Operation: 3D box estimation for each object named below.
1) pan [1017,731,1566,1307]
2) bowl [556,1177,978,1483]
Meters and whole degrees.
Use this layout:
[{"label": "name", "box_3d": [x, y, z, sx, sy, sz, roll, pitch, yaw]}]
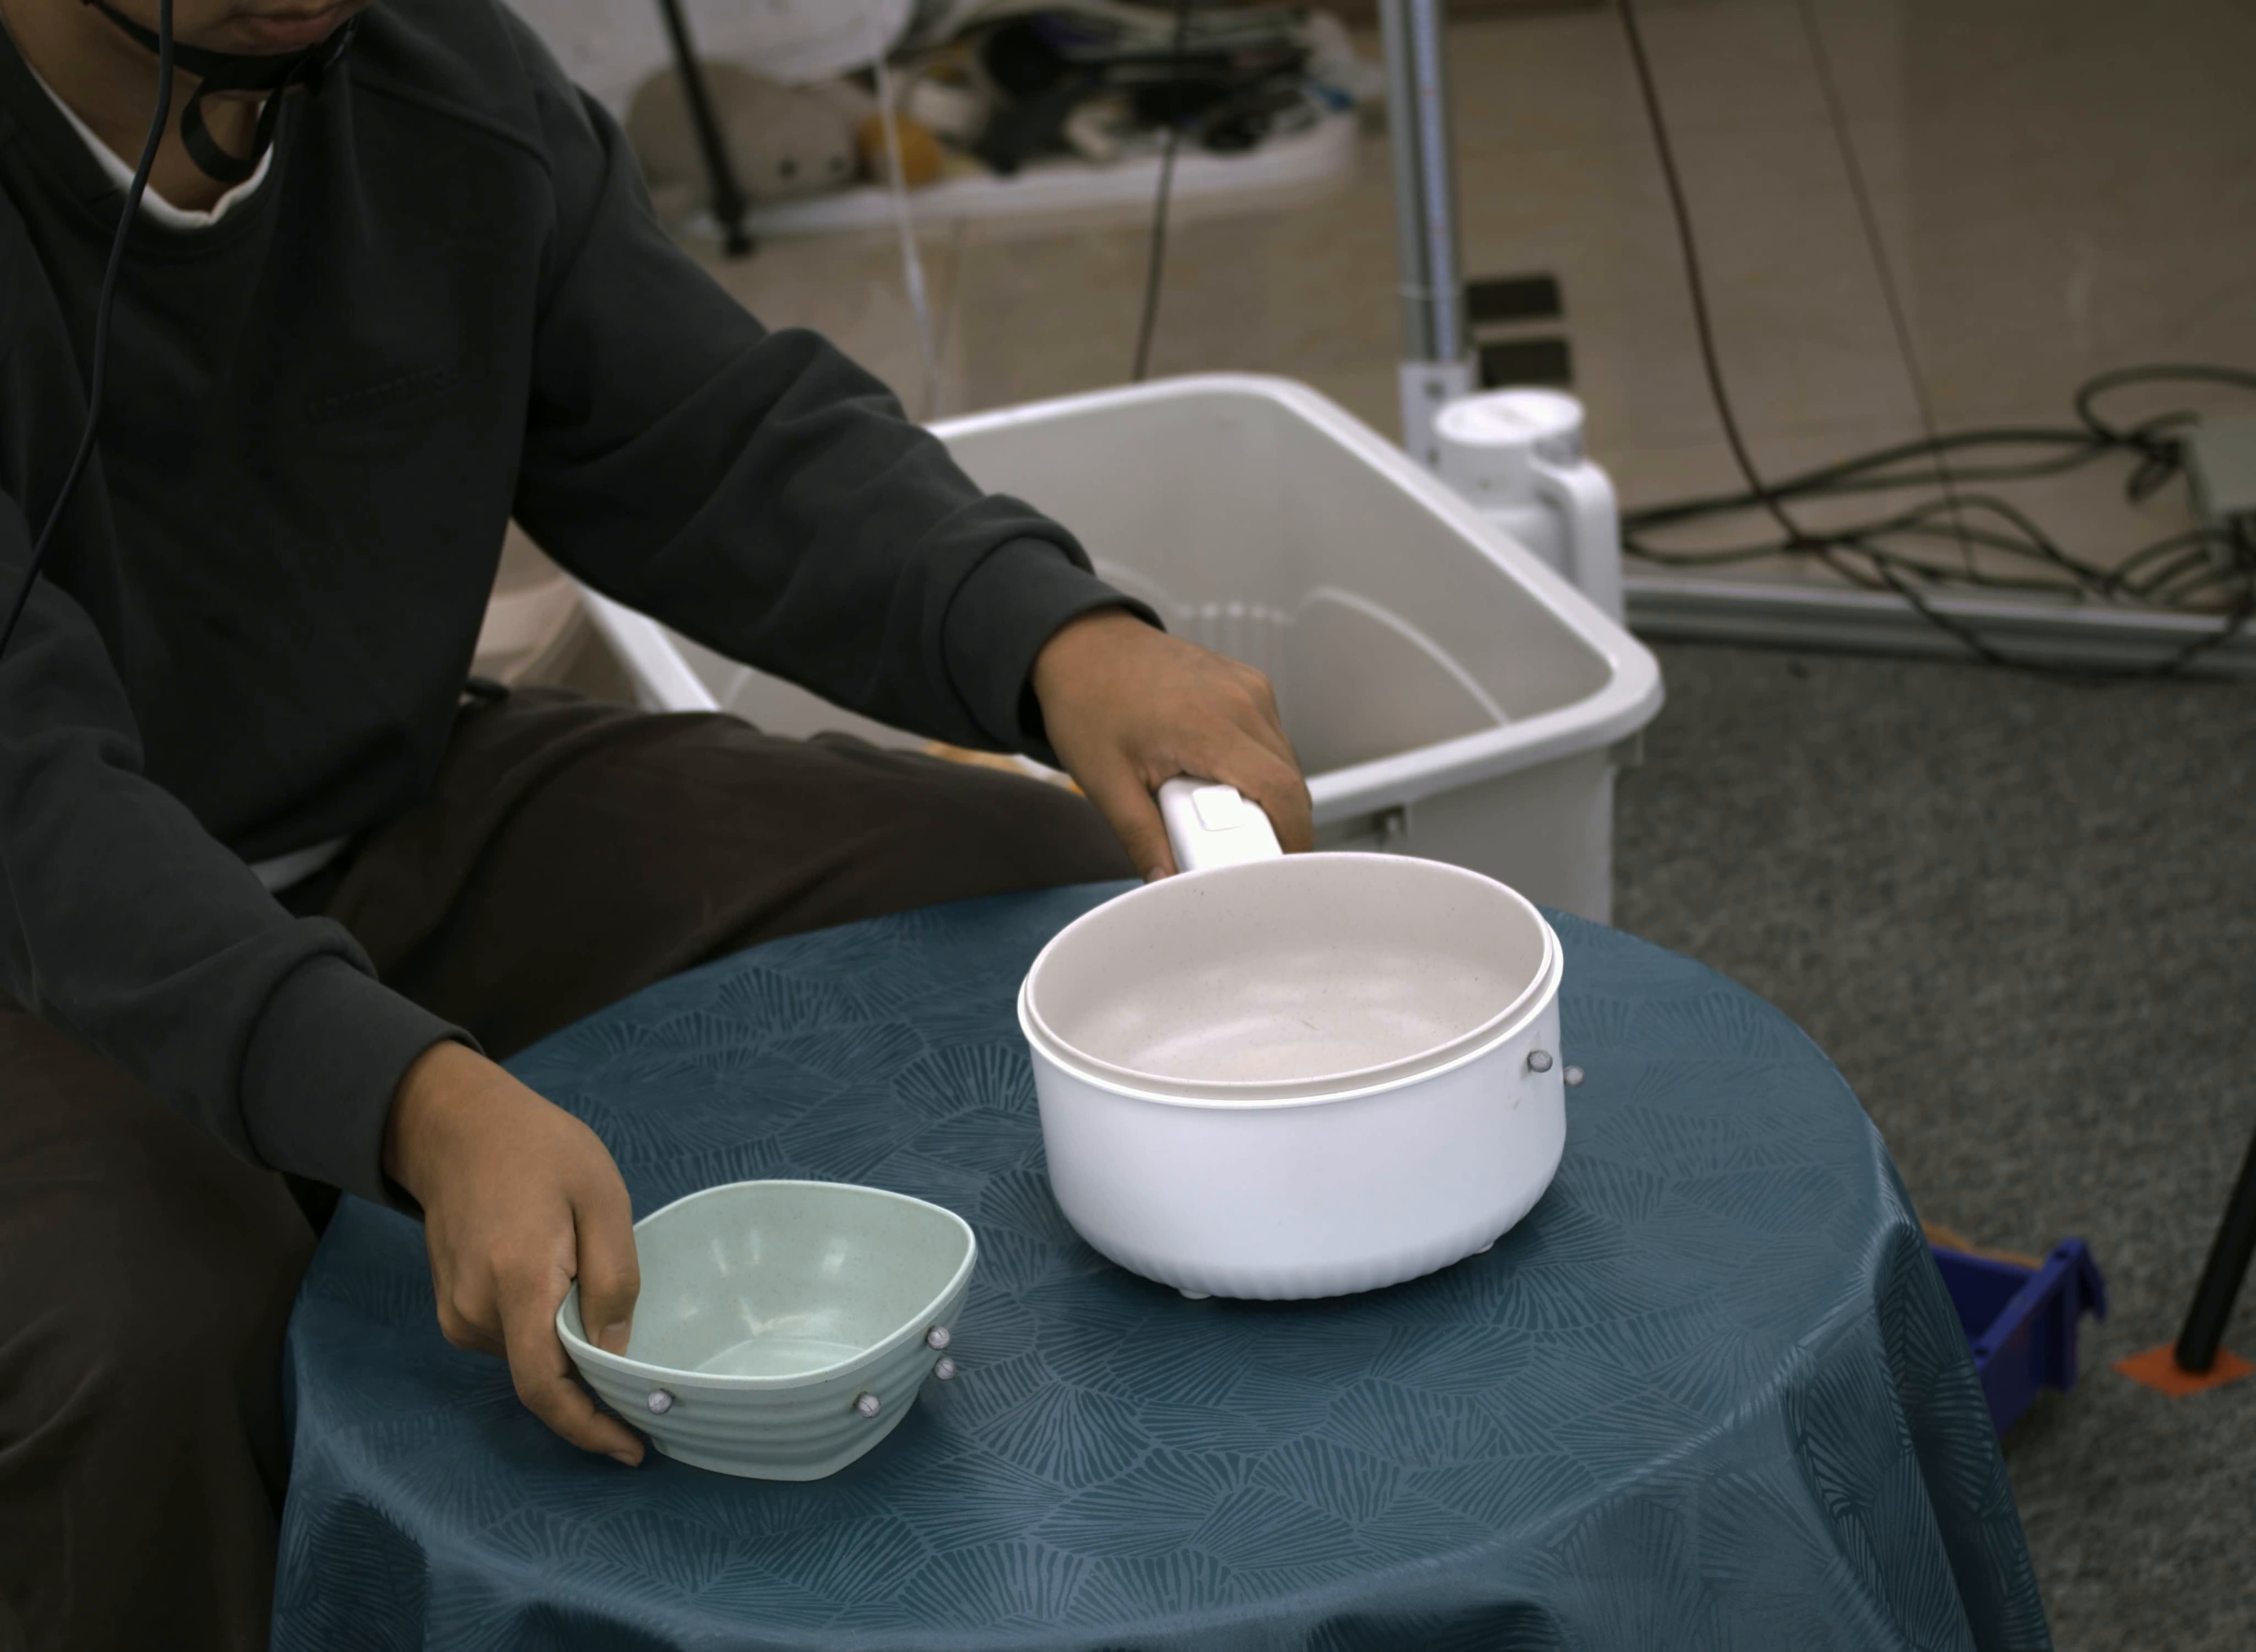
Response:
[{"label": "pan", "box_3d": [0.053, 0.071, 2.173, 0.201, 0.103, 0.350, -11, 23, -5]}, {"label": "bowl", "box_3d": [-0.125, 0.185, 2.013, 0.151, 0.059, 0.149, -4, 26, 2]}]
